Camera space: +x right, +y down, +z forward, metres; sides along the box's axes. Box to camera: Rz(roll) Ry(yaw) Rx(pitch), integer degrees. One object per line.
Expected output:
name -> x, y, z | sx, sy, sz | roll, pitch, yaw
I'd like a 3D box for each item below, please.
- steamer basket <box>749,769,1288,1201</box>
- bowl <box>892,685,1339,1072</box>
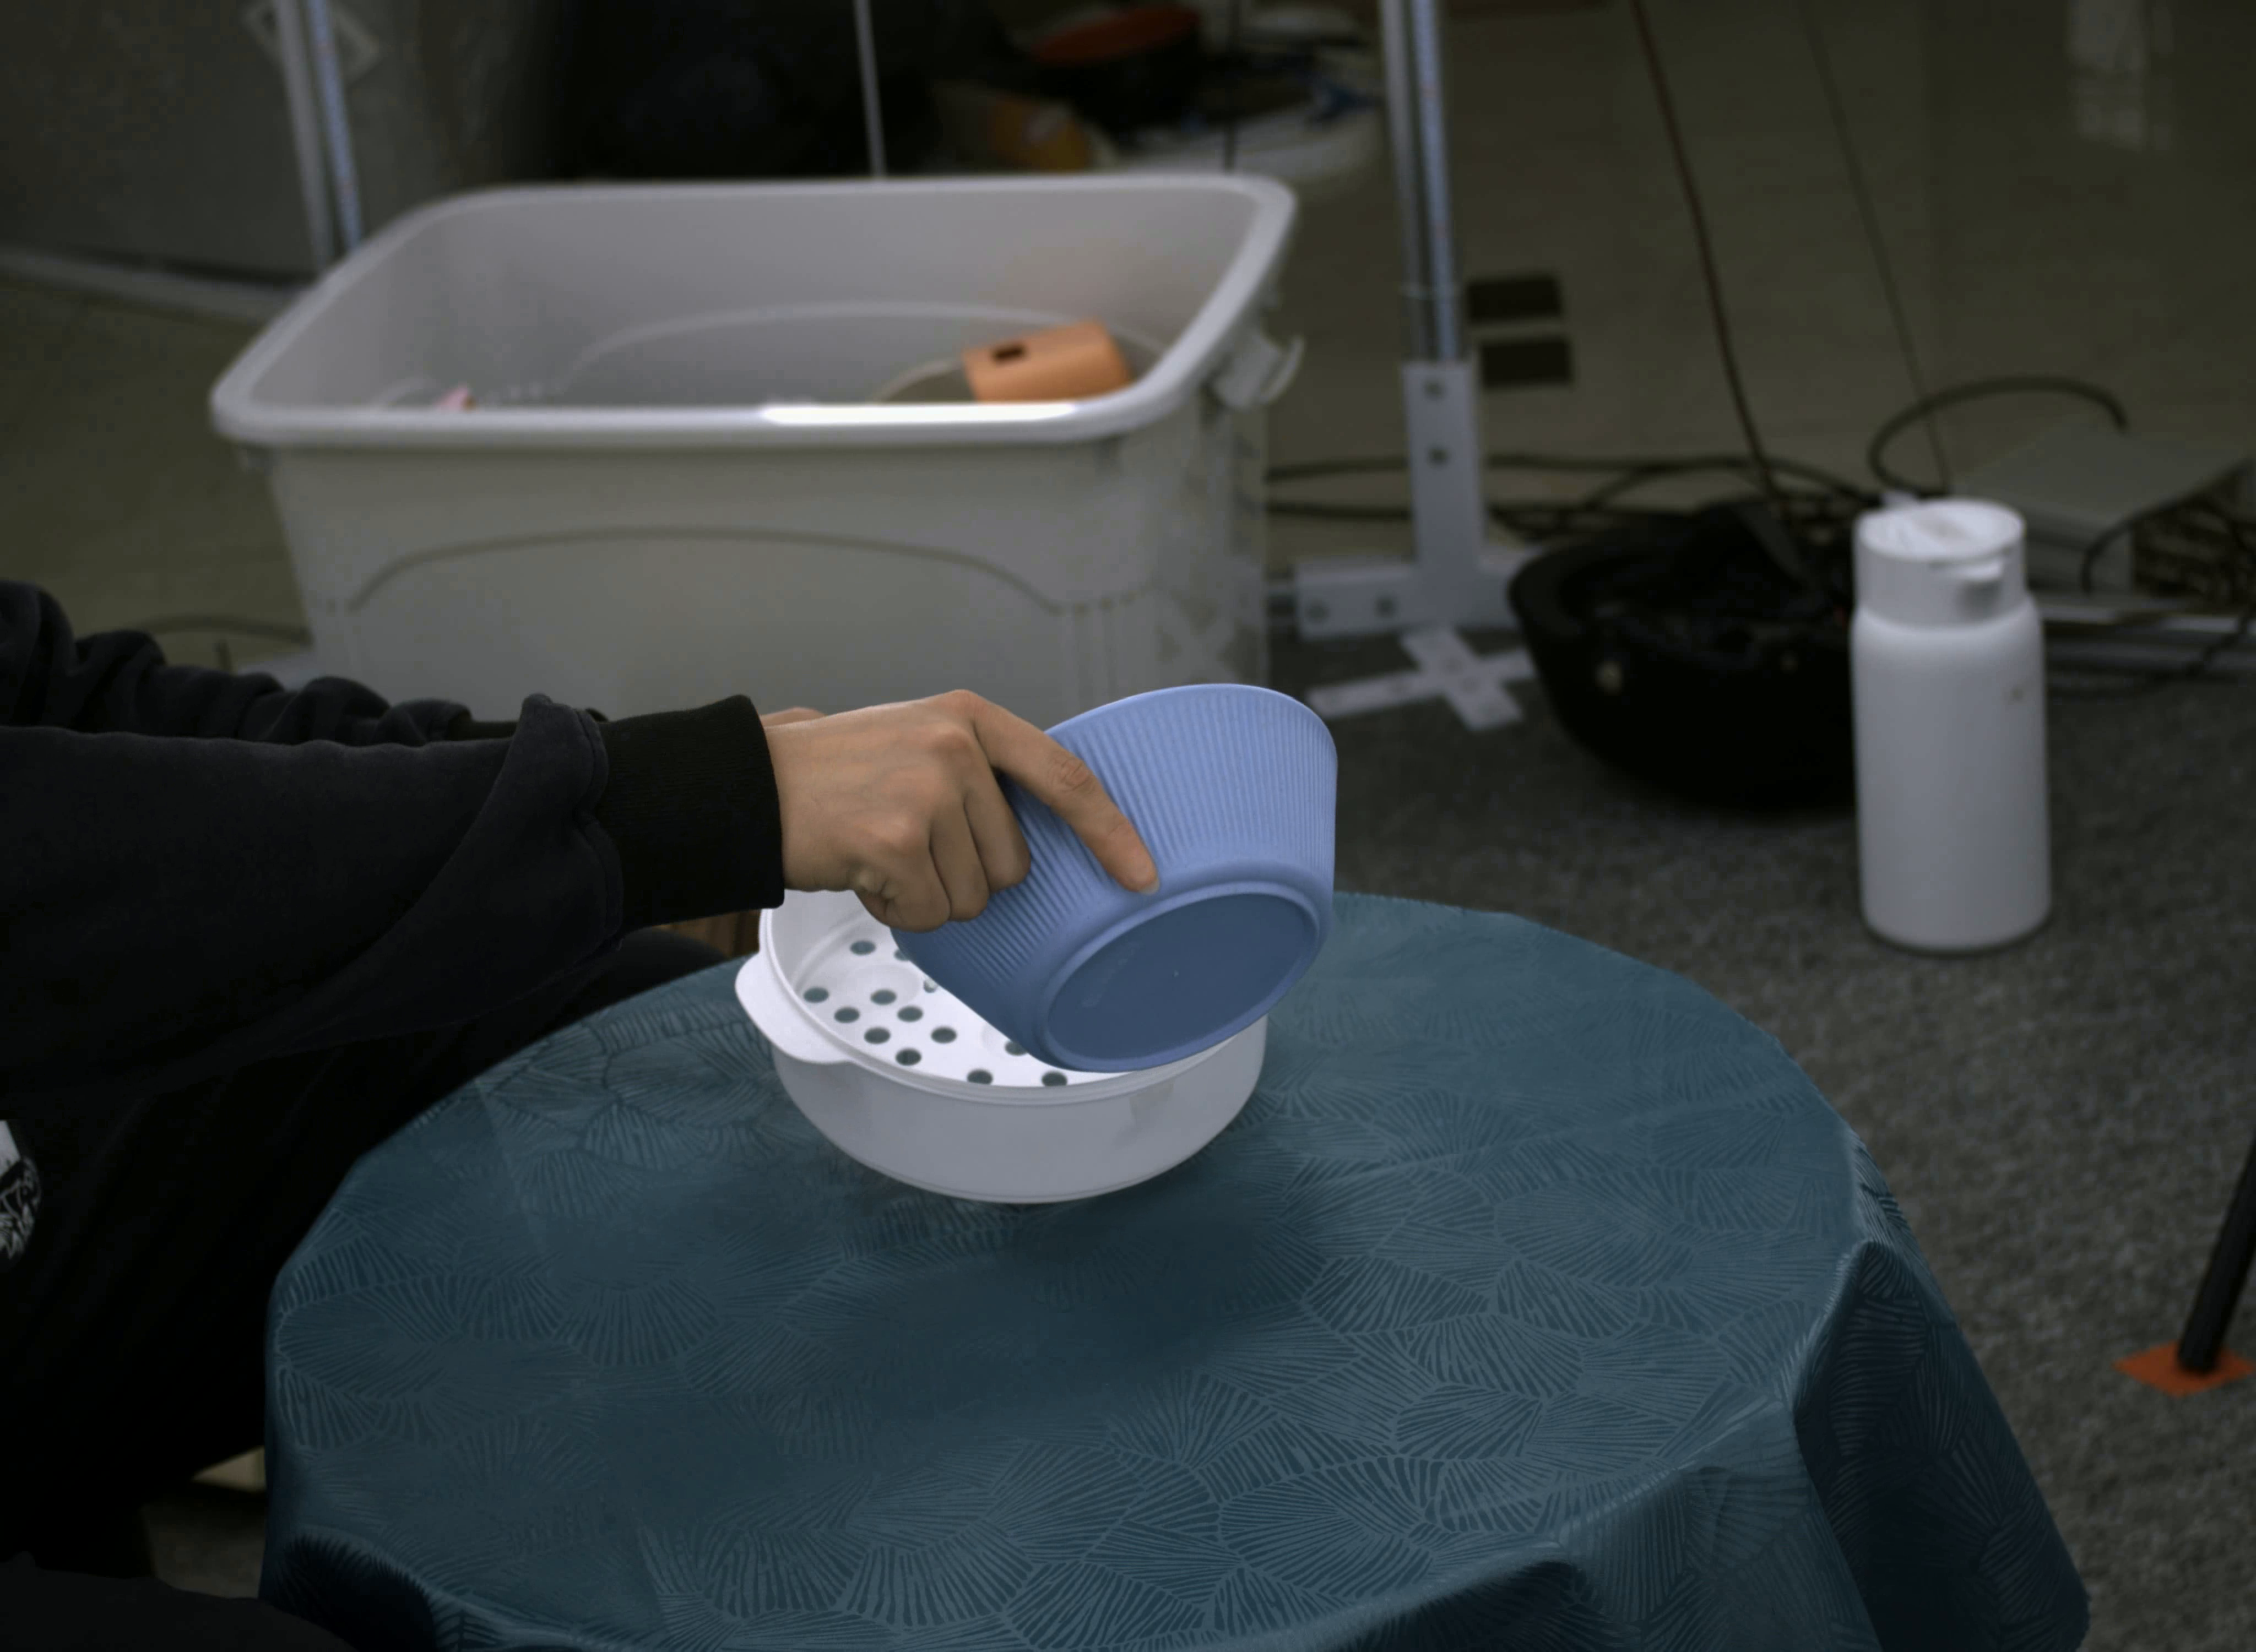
steamer basket -> -0.038, 0.062, 2.200 | 0.229, 0.070, 0.199 | -17, 43, -26
bowl -> 0.007, 0.029, 2.040 | 0.175, 0.179, 0.069 | -15, 59, -18
